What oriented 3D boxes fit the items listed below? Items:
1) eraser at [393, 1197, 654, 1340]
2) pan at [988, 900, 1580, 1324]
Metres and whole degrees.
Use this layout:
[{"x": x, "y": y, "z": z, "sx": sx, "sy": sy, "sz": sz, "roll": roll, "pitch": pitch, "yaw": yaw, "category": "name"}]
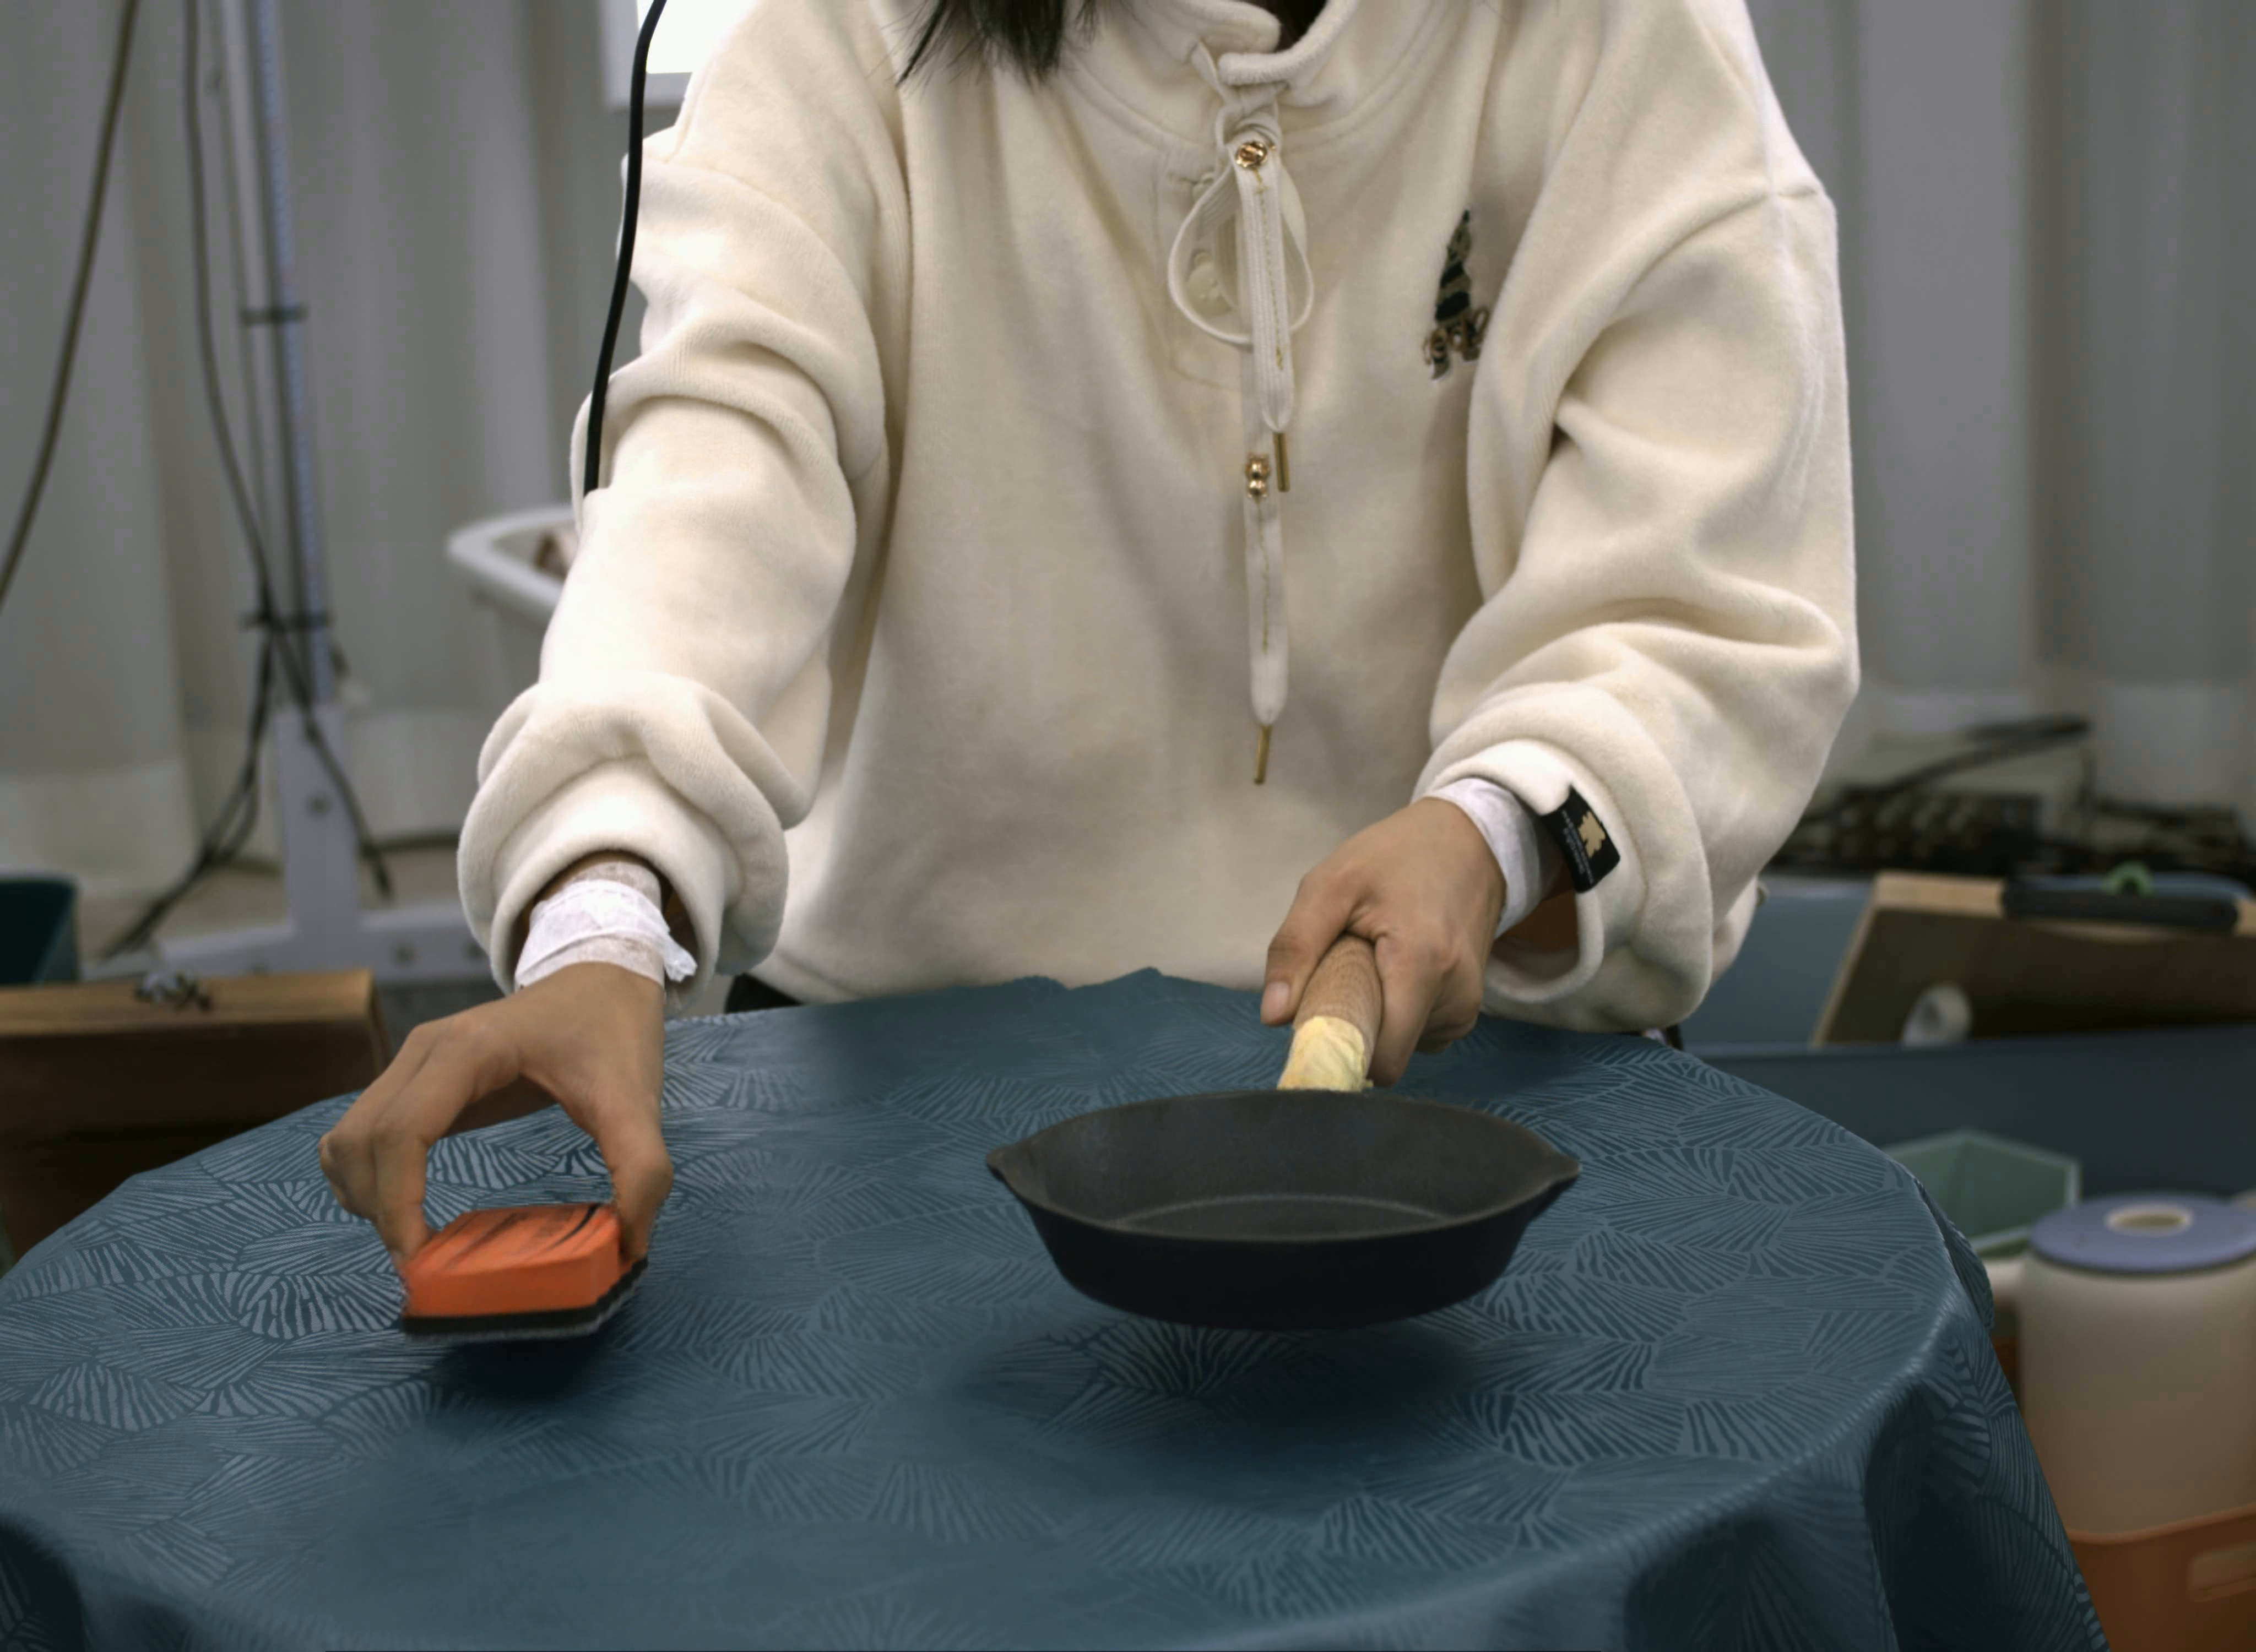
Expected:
[{"x": -0.176, "y": 0.129, "z": 1.602, "sx": 0.059, "sy": 0.023, "sz": 0.108, "roll": -6, "pitch": 4, "yaw": 6, "category": "eraser"}, {"x": 0.057, "y": 0.082, "z": 1.629, "sx": 0.168, "sy": 0.049, "sz": 0.325, "roll": 1, "pitch": 13, "yaw": 9, "category": "pan"}]
